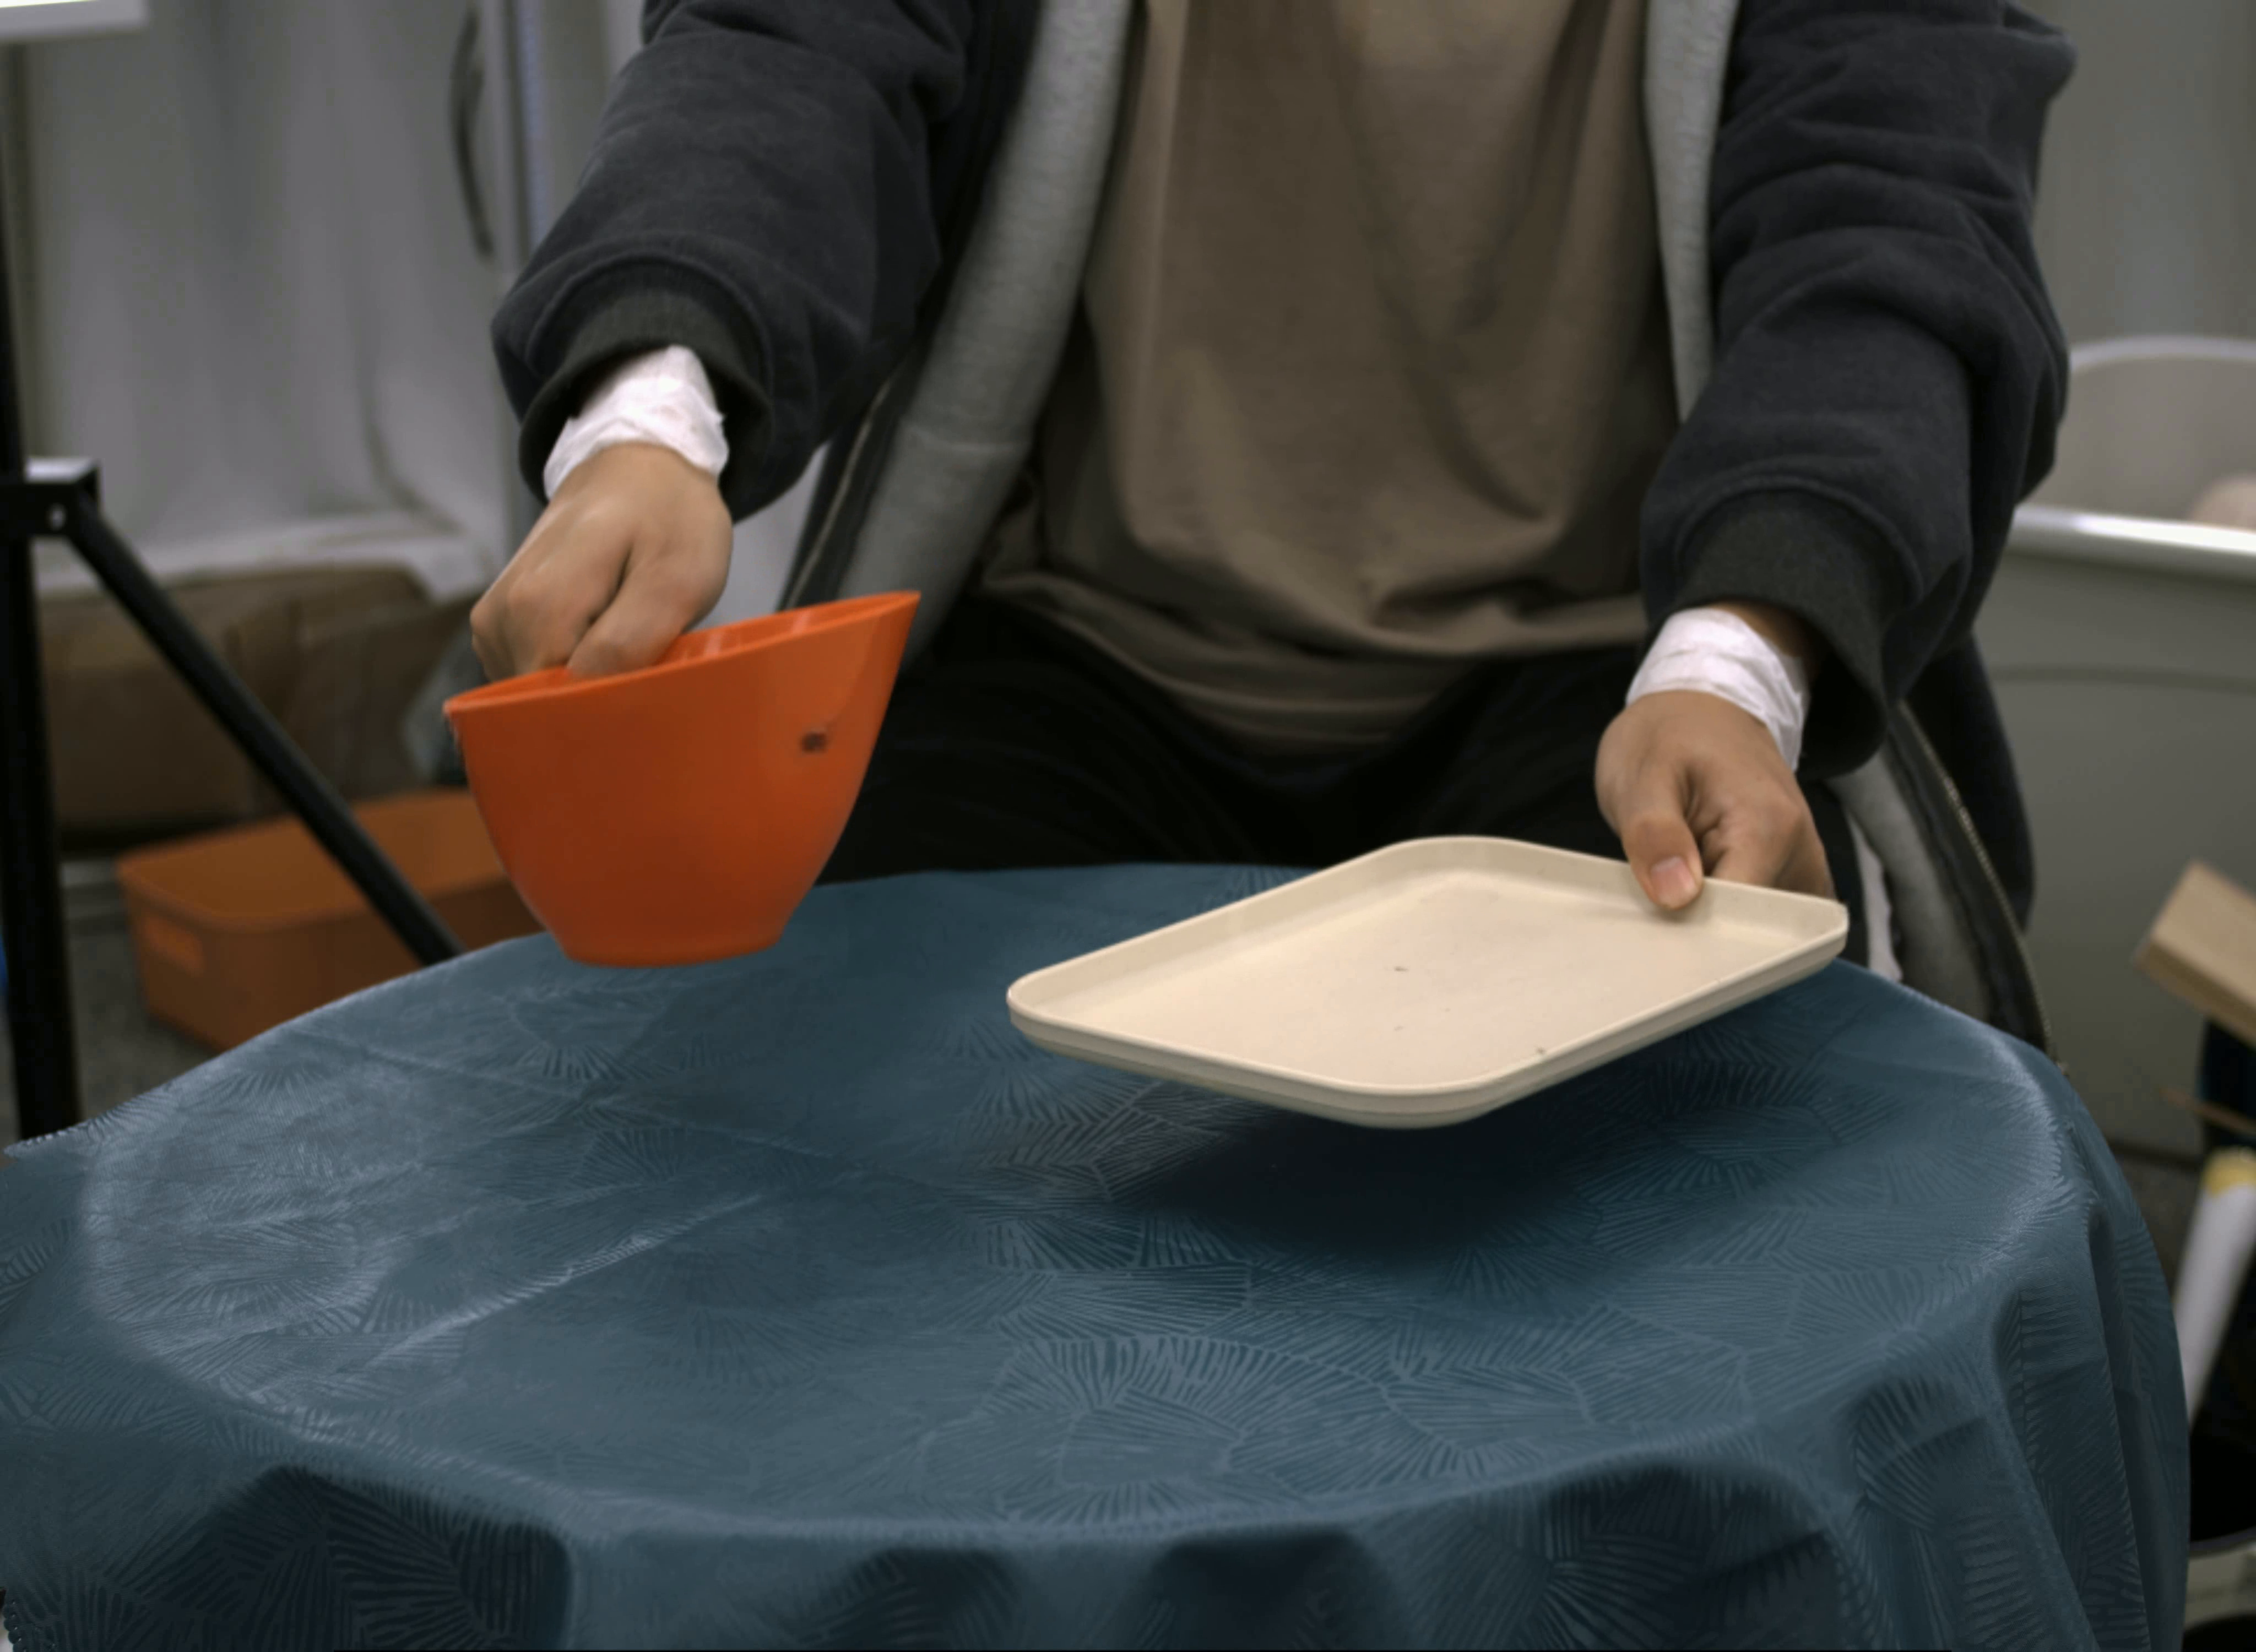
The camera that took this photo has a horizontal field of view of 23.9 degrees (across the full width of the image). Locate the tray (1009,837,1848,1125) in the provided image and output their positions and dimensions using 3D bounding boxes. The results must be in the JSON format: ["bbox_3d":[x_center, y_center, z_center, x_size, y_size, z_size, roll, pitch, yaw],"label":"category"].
[{"bbox_3d":[0.092,0.045,1.586,0.175,0.017,0.234,10,19,39],"label":"tray"}]

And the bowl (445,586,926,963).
[{"bbox_3d":[-0.132,-0.016,1.619,0.147,0.105,0.148,-4,11,-1],"label":"bowl"}]
